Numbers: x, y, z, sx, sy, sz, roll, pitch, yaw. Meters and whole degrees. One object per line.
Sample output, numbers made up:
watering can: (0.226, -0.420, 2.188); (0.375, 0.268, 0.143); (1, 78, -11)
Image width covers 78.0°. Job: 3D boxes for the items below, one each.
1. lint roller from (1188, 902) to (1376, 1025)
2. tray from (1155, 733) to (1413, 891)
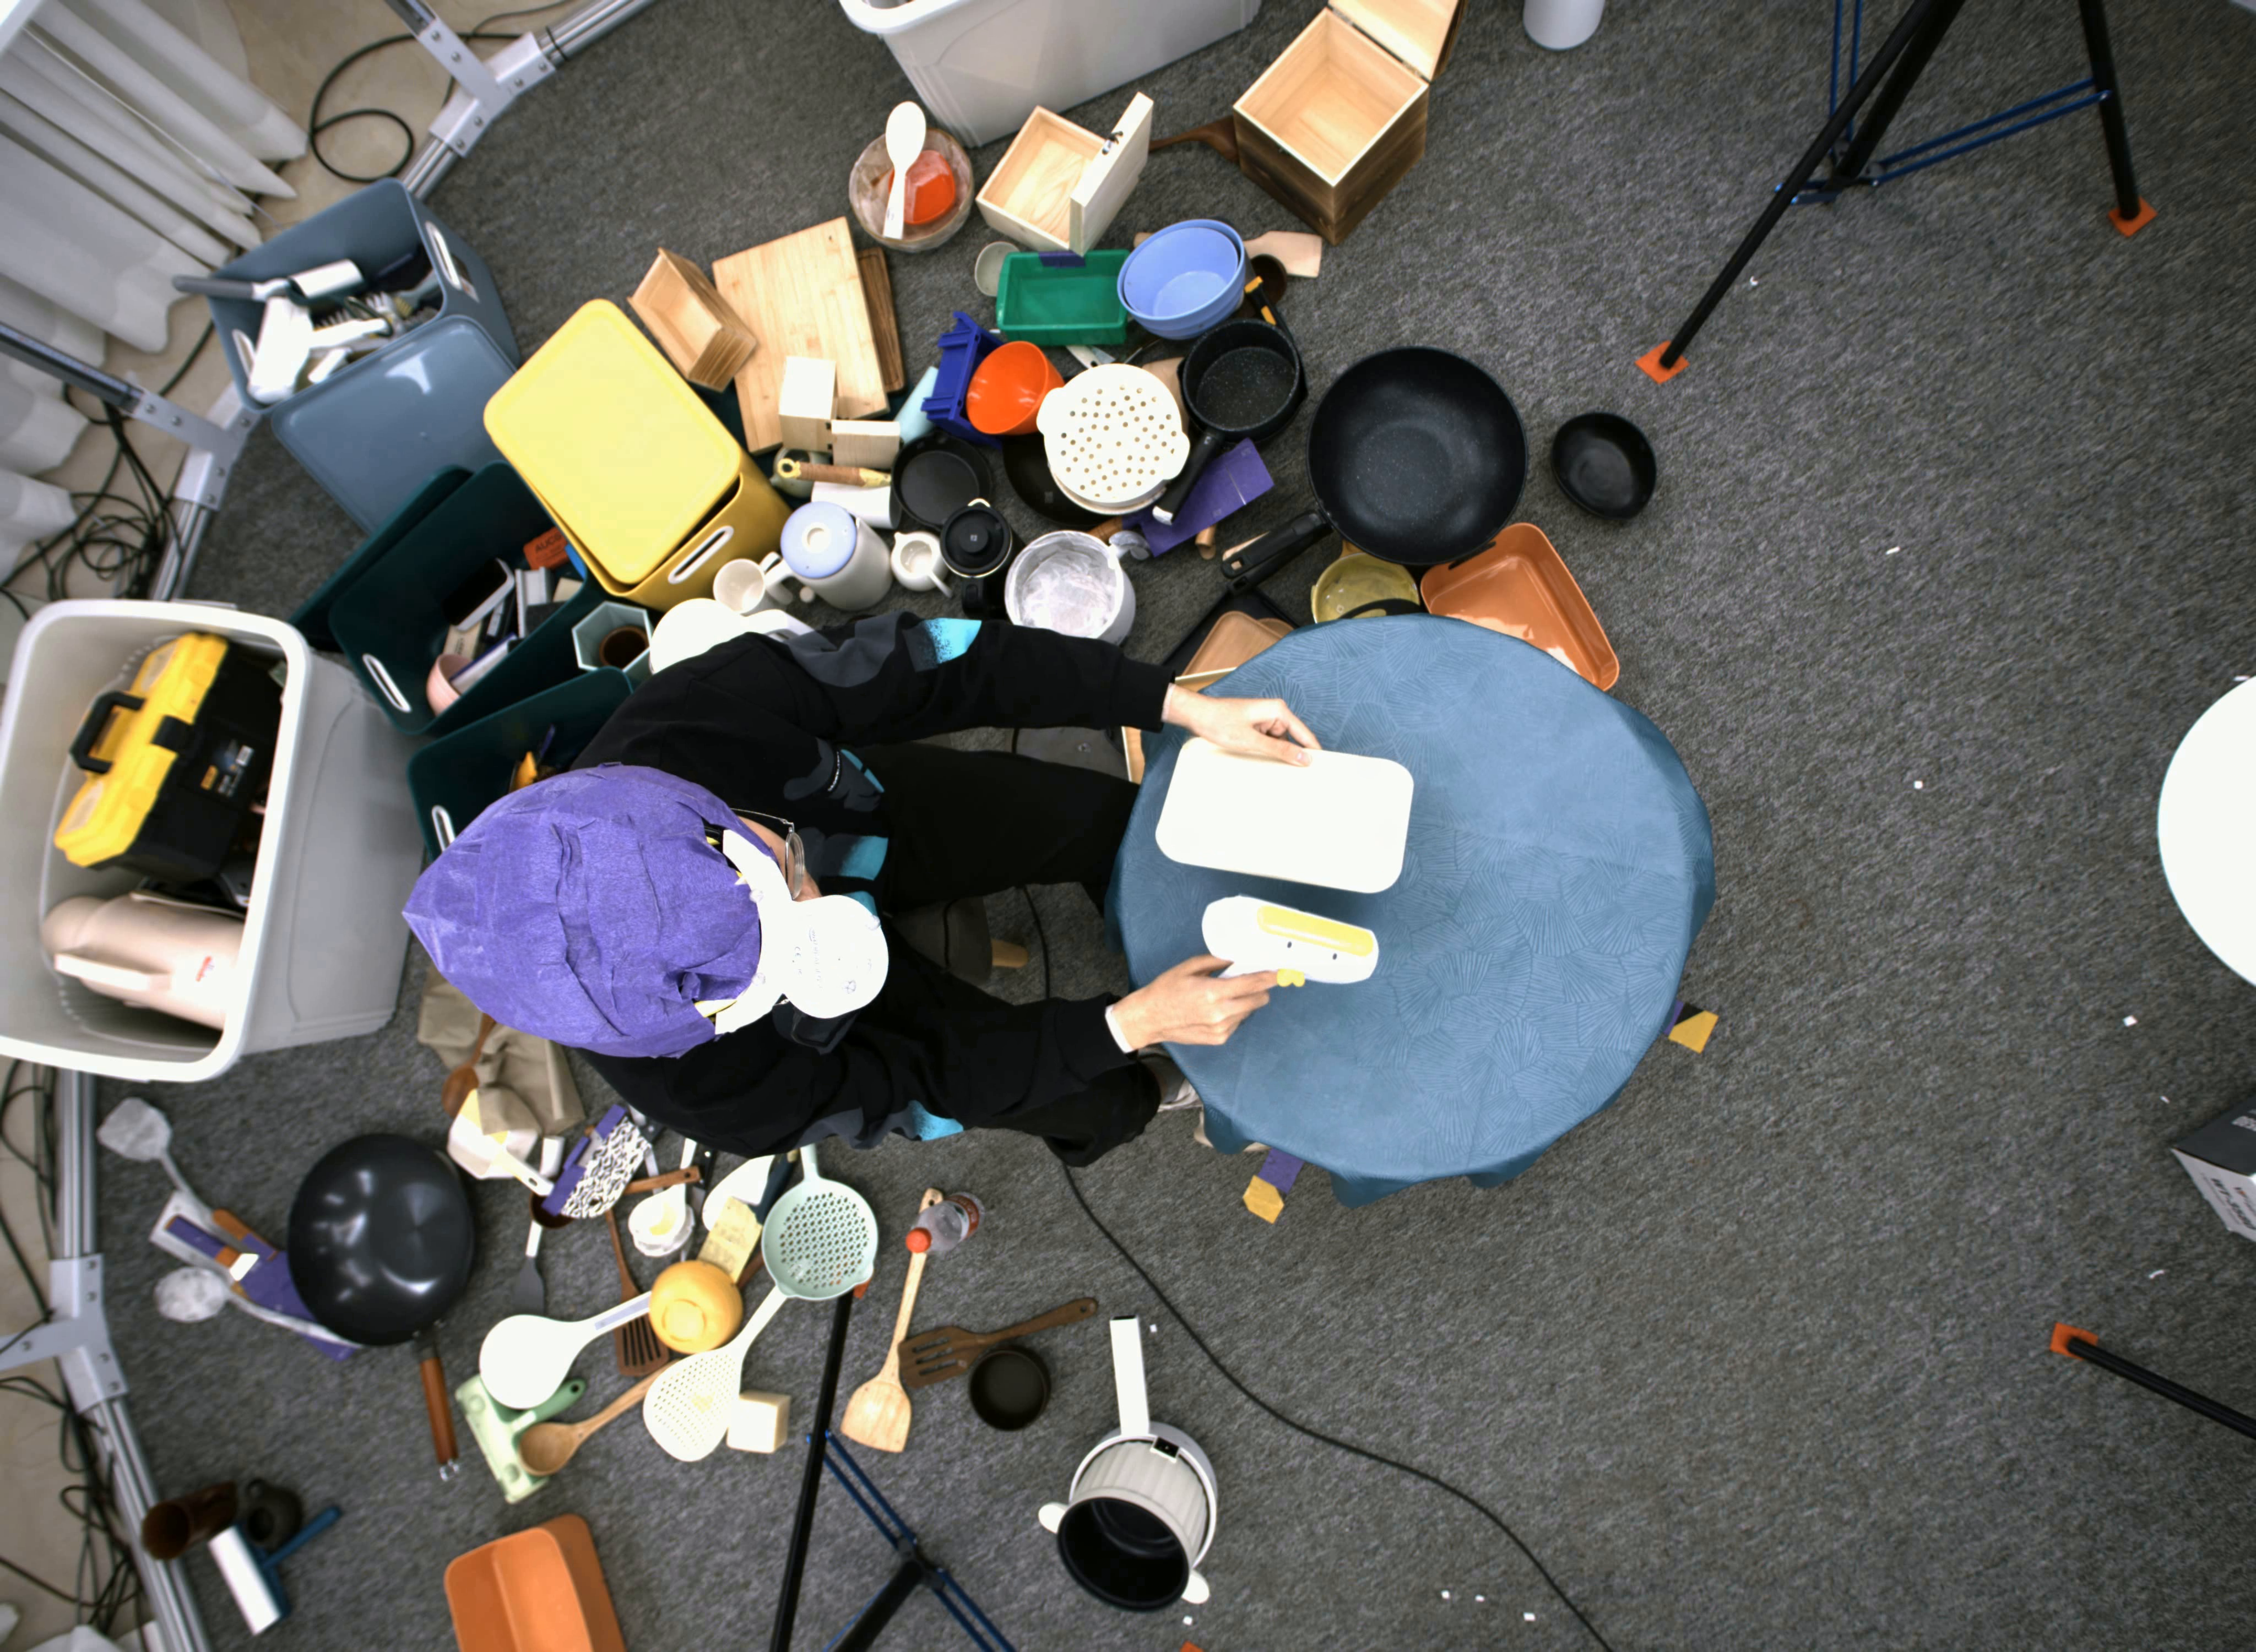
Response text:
lint roller: (0.119, 0.139, 1.344); (0.196, 0.192, 0.073); (-35, 54, 49)
tray: (0.155, -0.015, 1.362); (0.240, 0.018, 0.167); (9, 53, 11)
